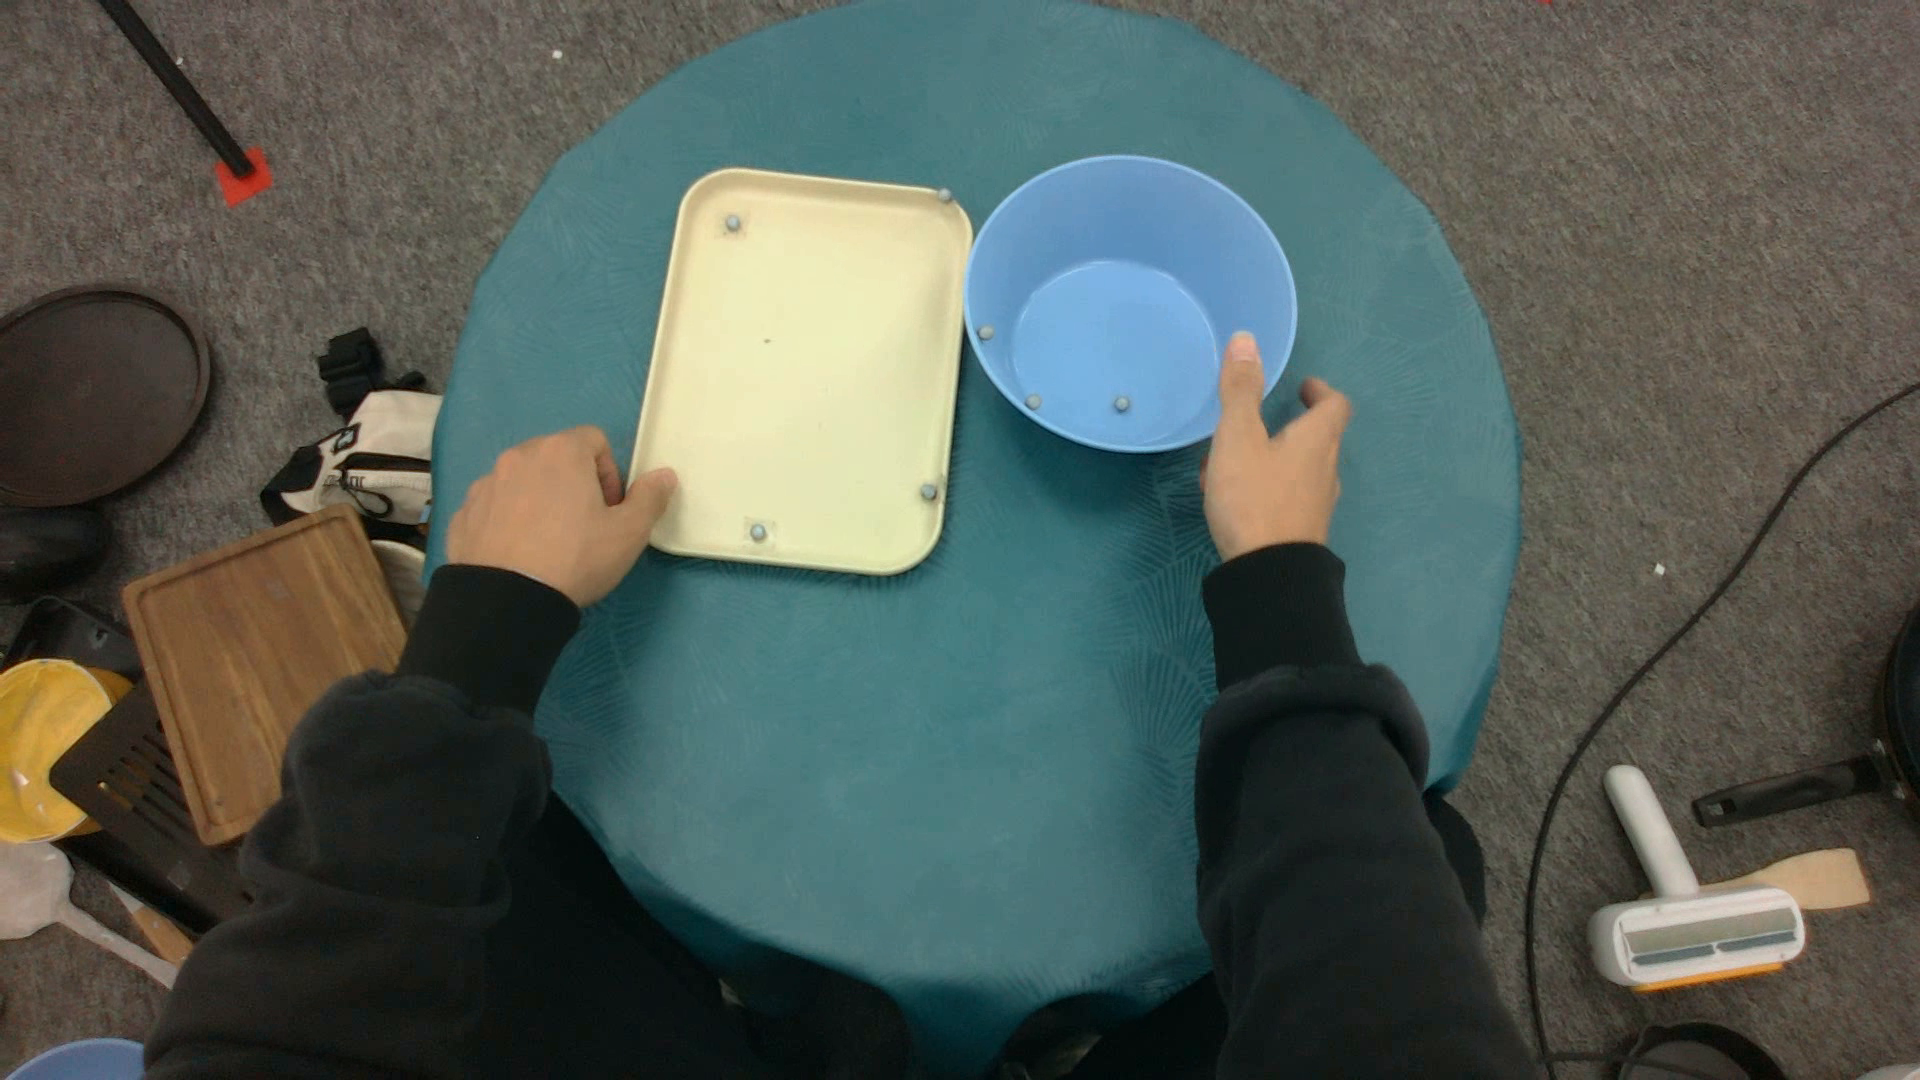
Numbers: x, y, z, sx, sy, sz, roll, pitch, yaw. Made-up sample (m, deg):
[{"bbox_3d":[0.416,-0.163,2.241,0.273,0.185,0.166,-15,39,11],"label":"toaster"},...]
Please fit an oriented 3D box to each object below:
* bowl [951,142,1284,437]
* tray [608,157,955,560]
[{"bbox_3d":[0.082,-0.125,0.753,0.176,0.070,0.176,1,70,-1],"label":"bowl"},{"bbox_3d":[-0.095,-0.105,0.766,0.171,0.017,0.240,5,70,0],"label":"tray"}]
